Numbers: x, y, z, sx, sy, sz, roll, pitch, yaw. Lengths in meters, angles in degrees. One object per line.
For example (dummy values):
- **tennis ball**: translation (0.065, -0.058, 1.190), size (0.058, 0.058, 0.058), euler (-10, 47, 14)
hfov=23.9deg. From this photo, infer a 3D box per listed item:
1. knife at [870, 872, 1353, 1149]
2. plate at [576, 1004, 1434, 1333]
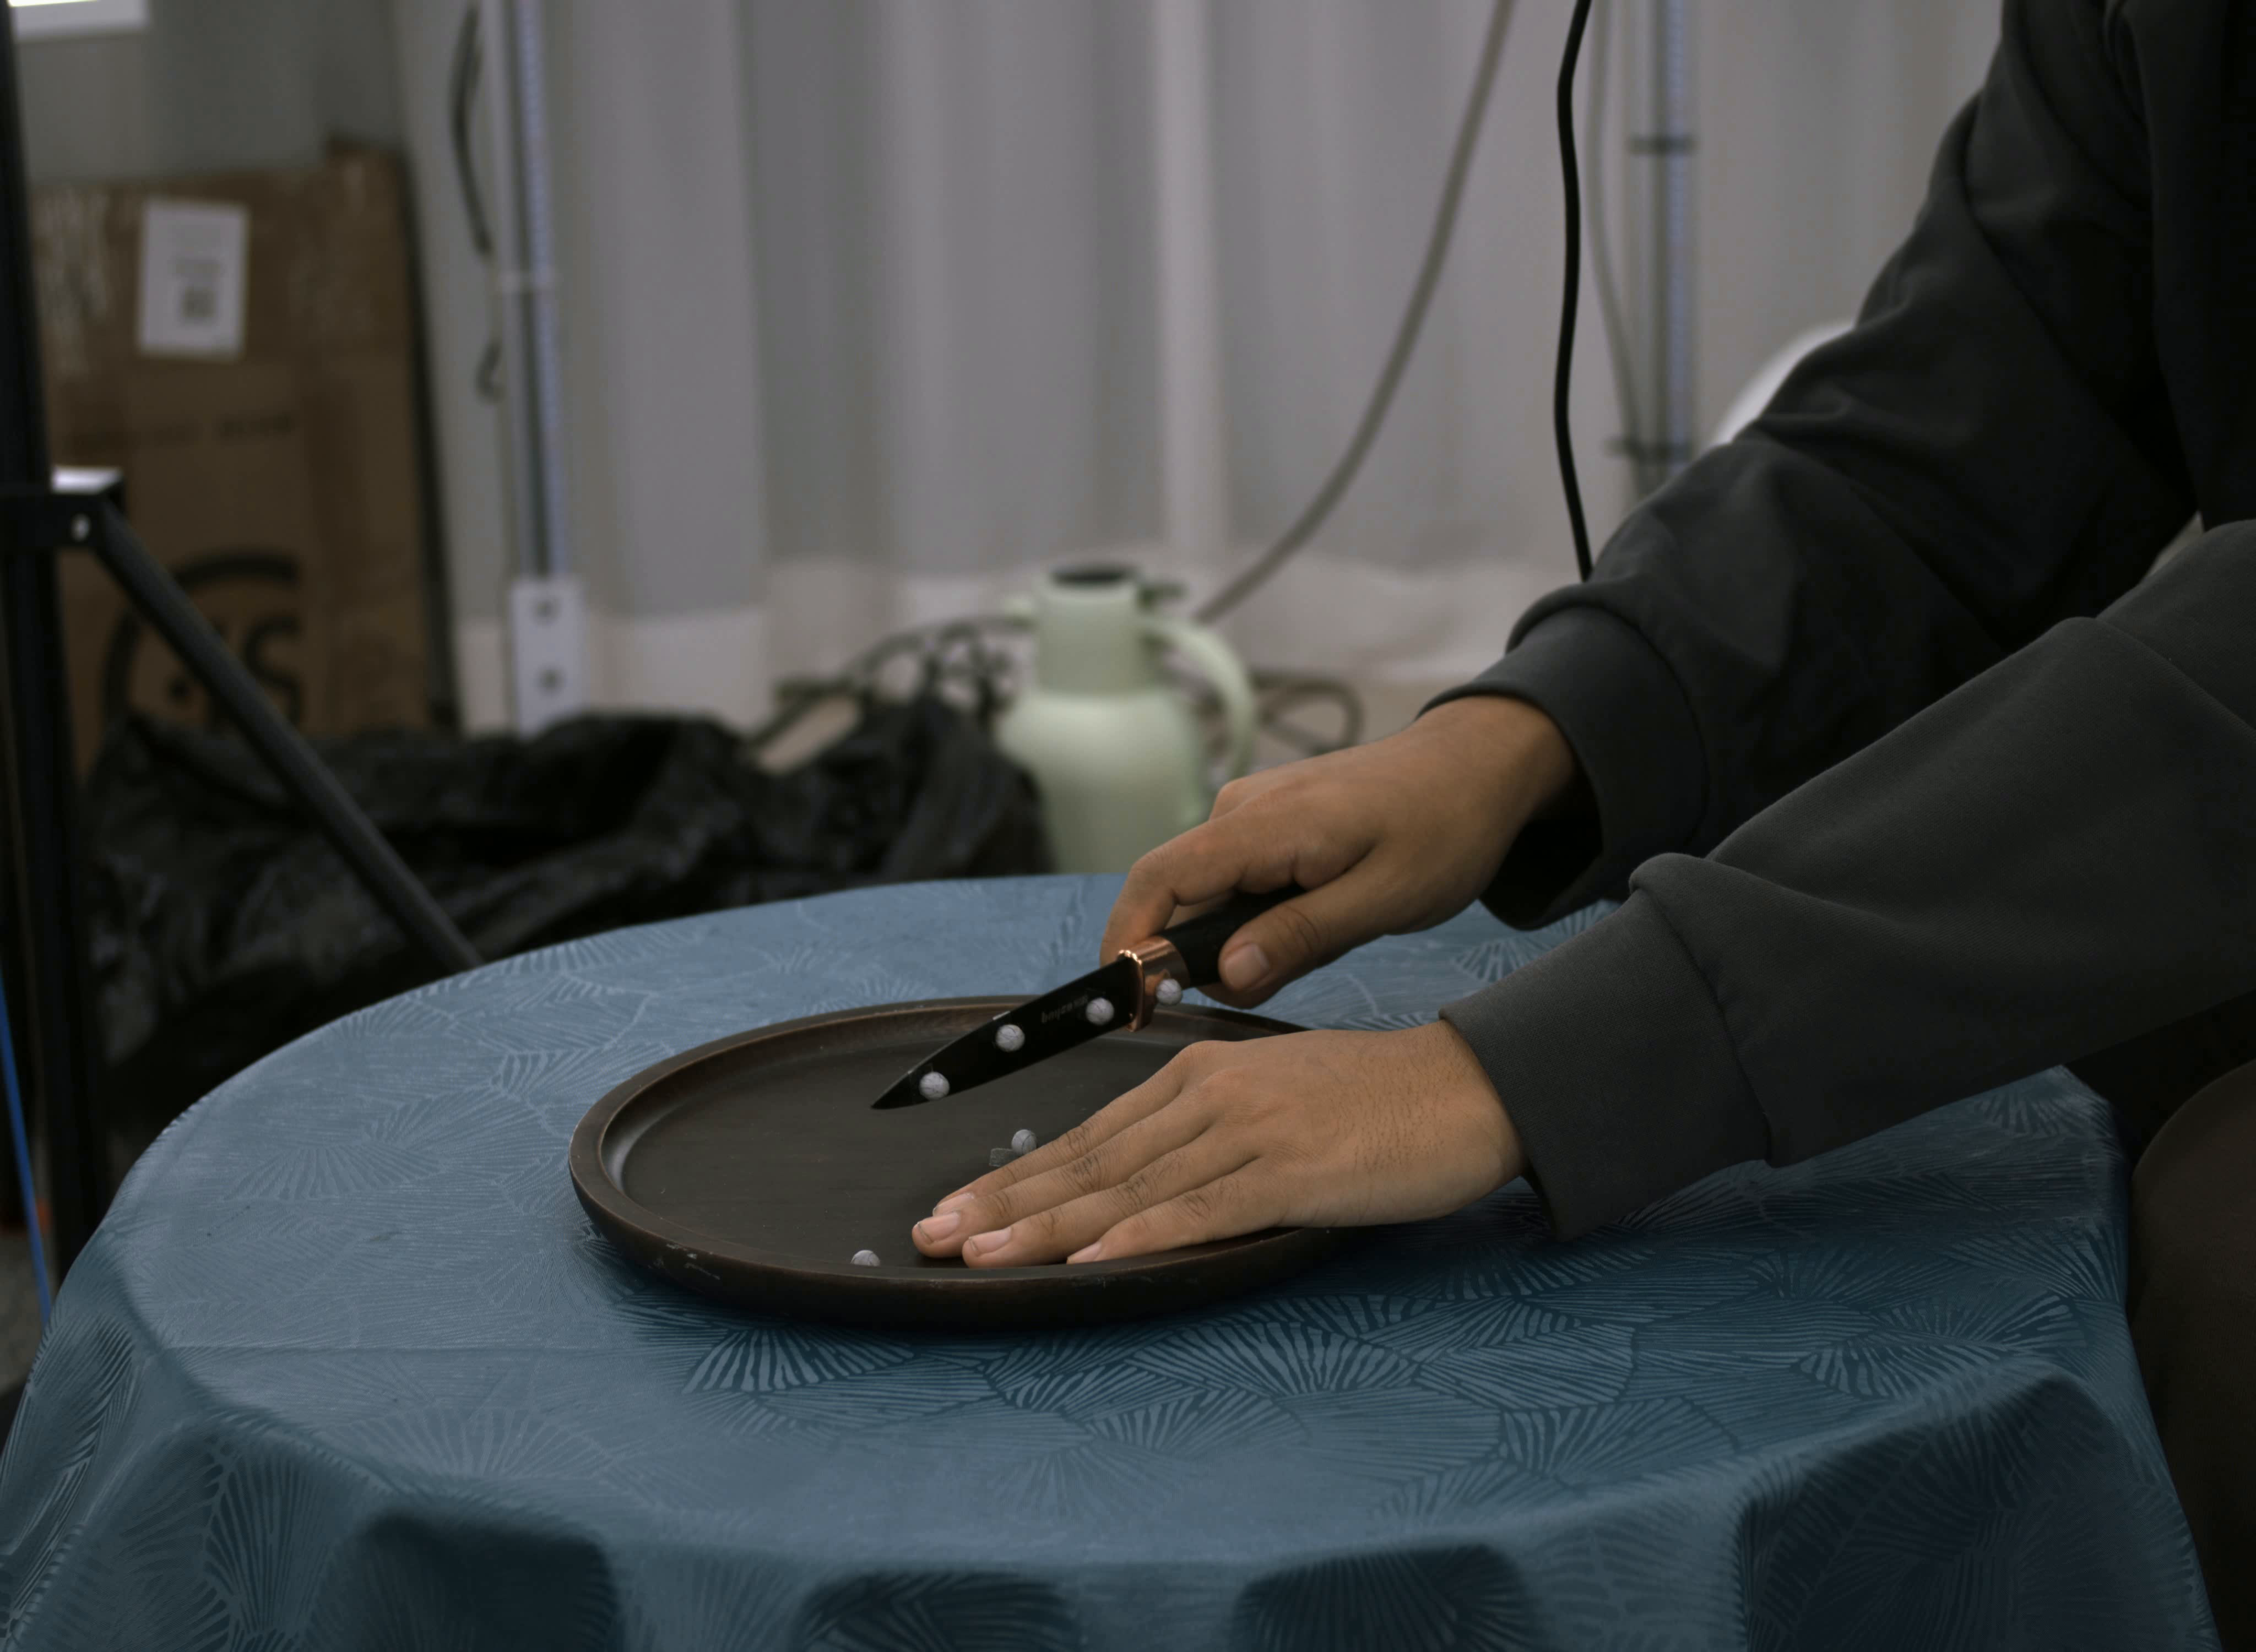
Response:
- **knife**: translation (-0.002, 0.054, 1.605), size (0.017, 0.026, 0.221), euler (11, 24, 39)
- **plate**: translation (-0.036, 0.098, 1.557), size (0.253, 0.029, 0.256), euler (-2, 15, -1)
